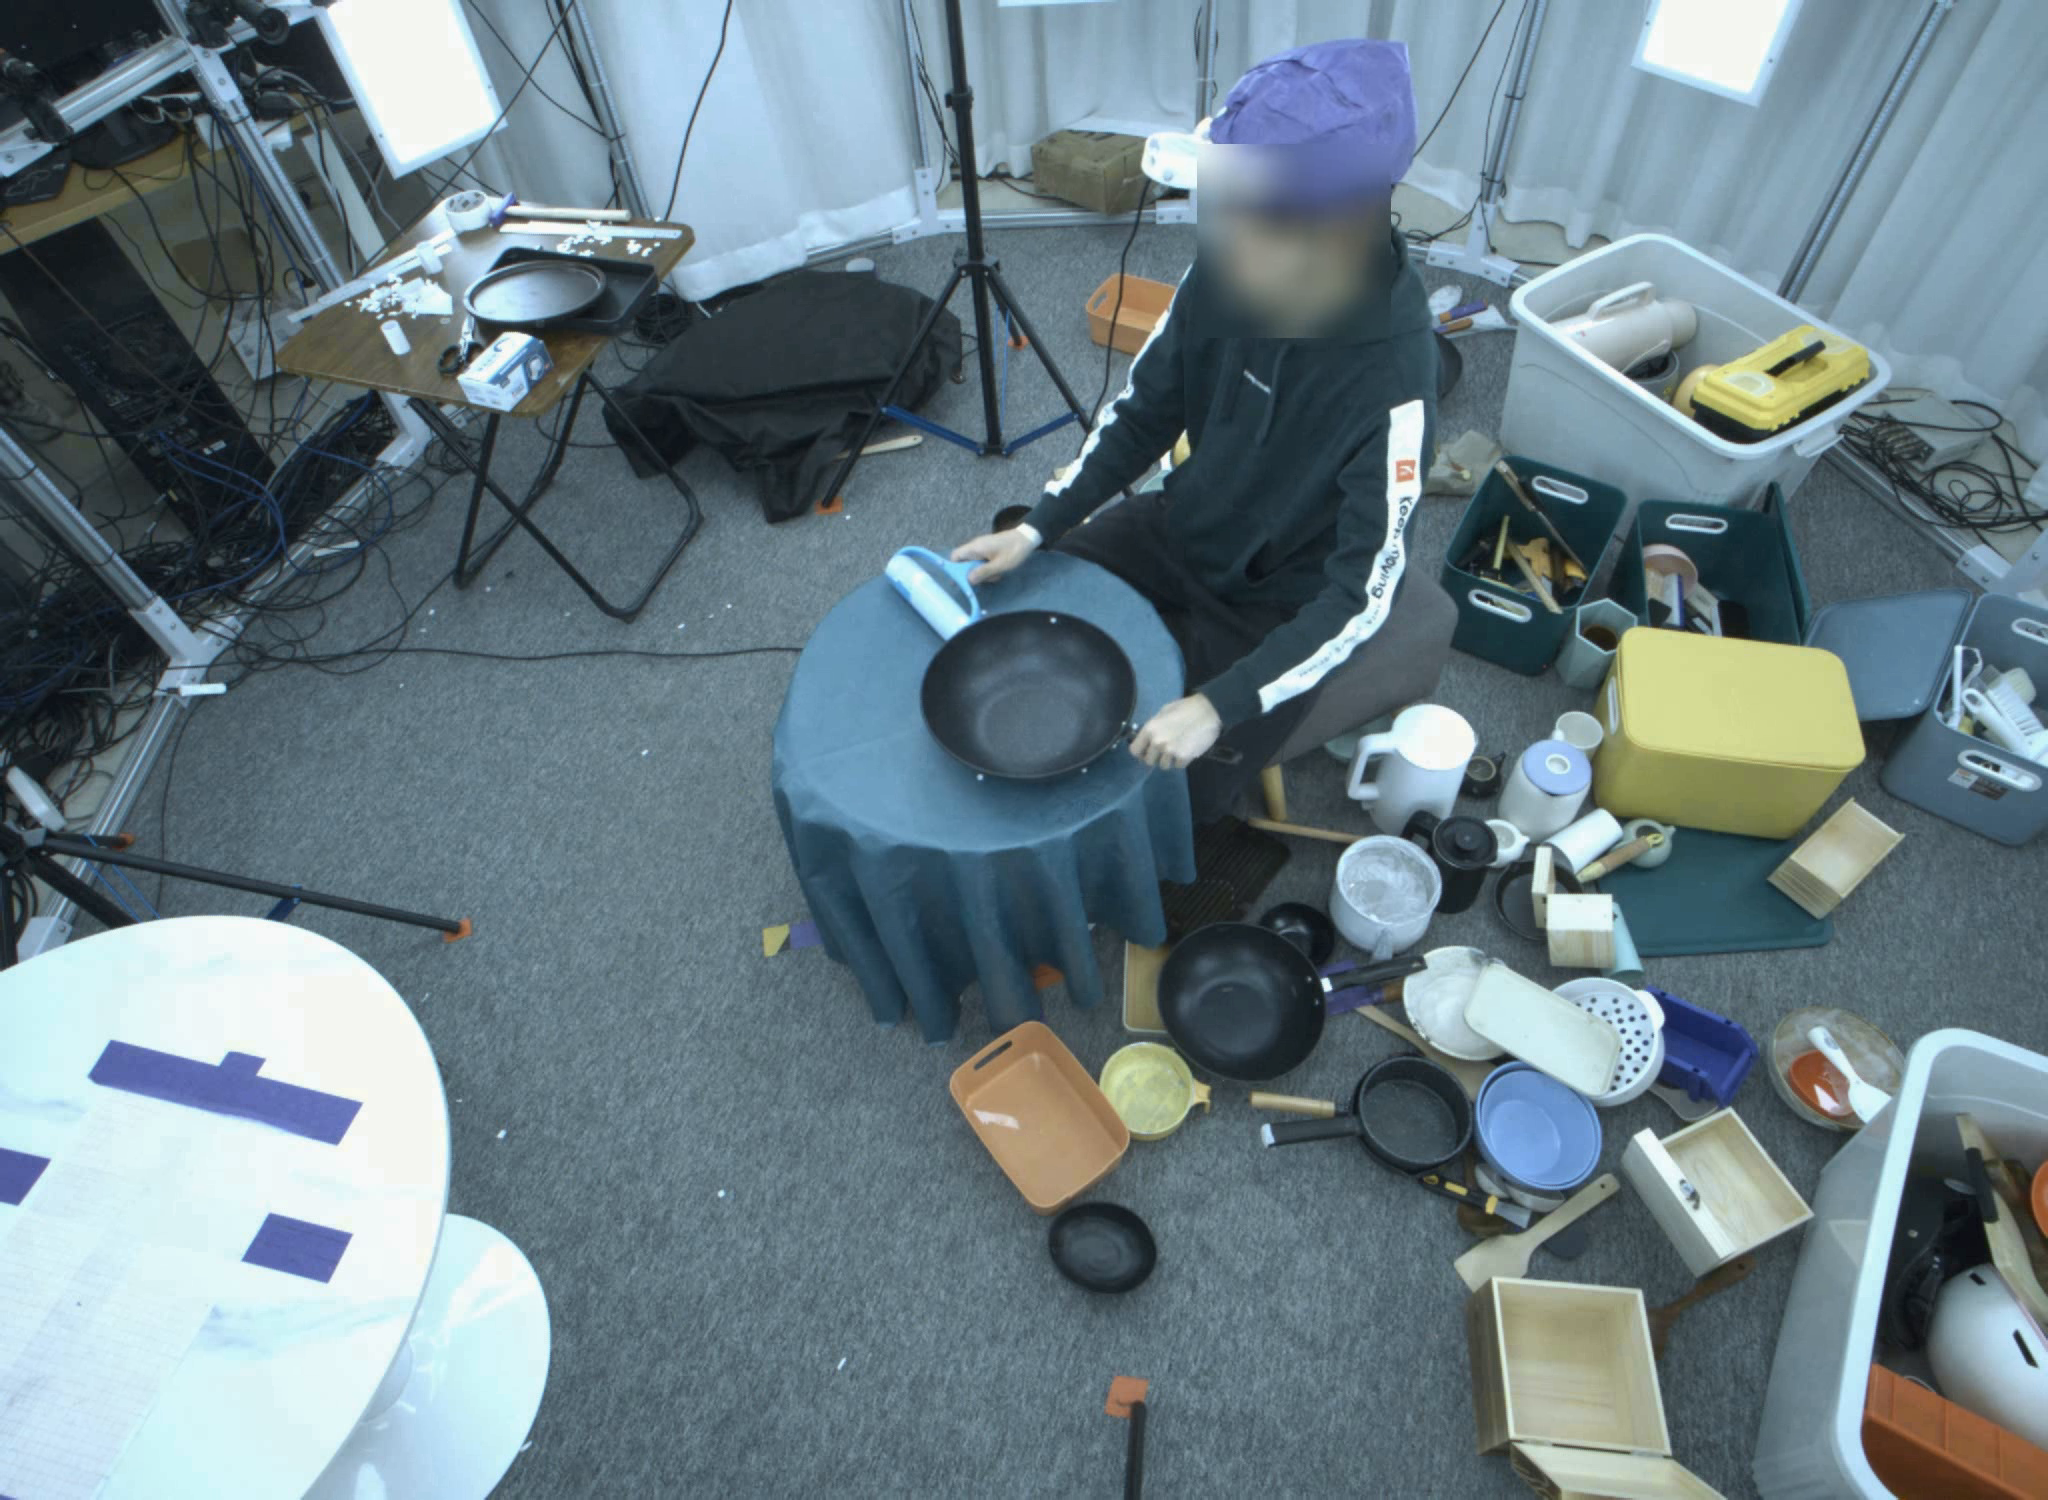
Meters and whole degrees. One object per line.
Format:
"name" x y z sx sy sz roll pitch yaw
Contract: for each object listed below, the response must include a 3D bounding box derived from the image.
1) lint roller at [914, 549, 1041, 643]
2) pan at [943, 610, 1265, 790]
"lint roller" -0.053 -0.263 1.933 0.181 0.069 0.224 -37 59 -16
"pan" 0.114 -0.034 1.737 0.470 0.113 0.311 23 61 17
